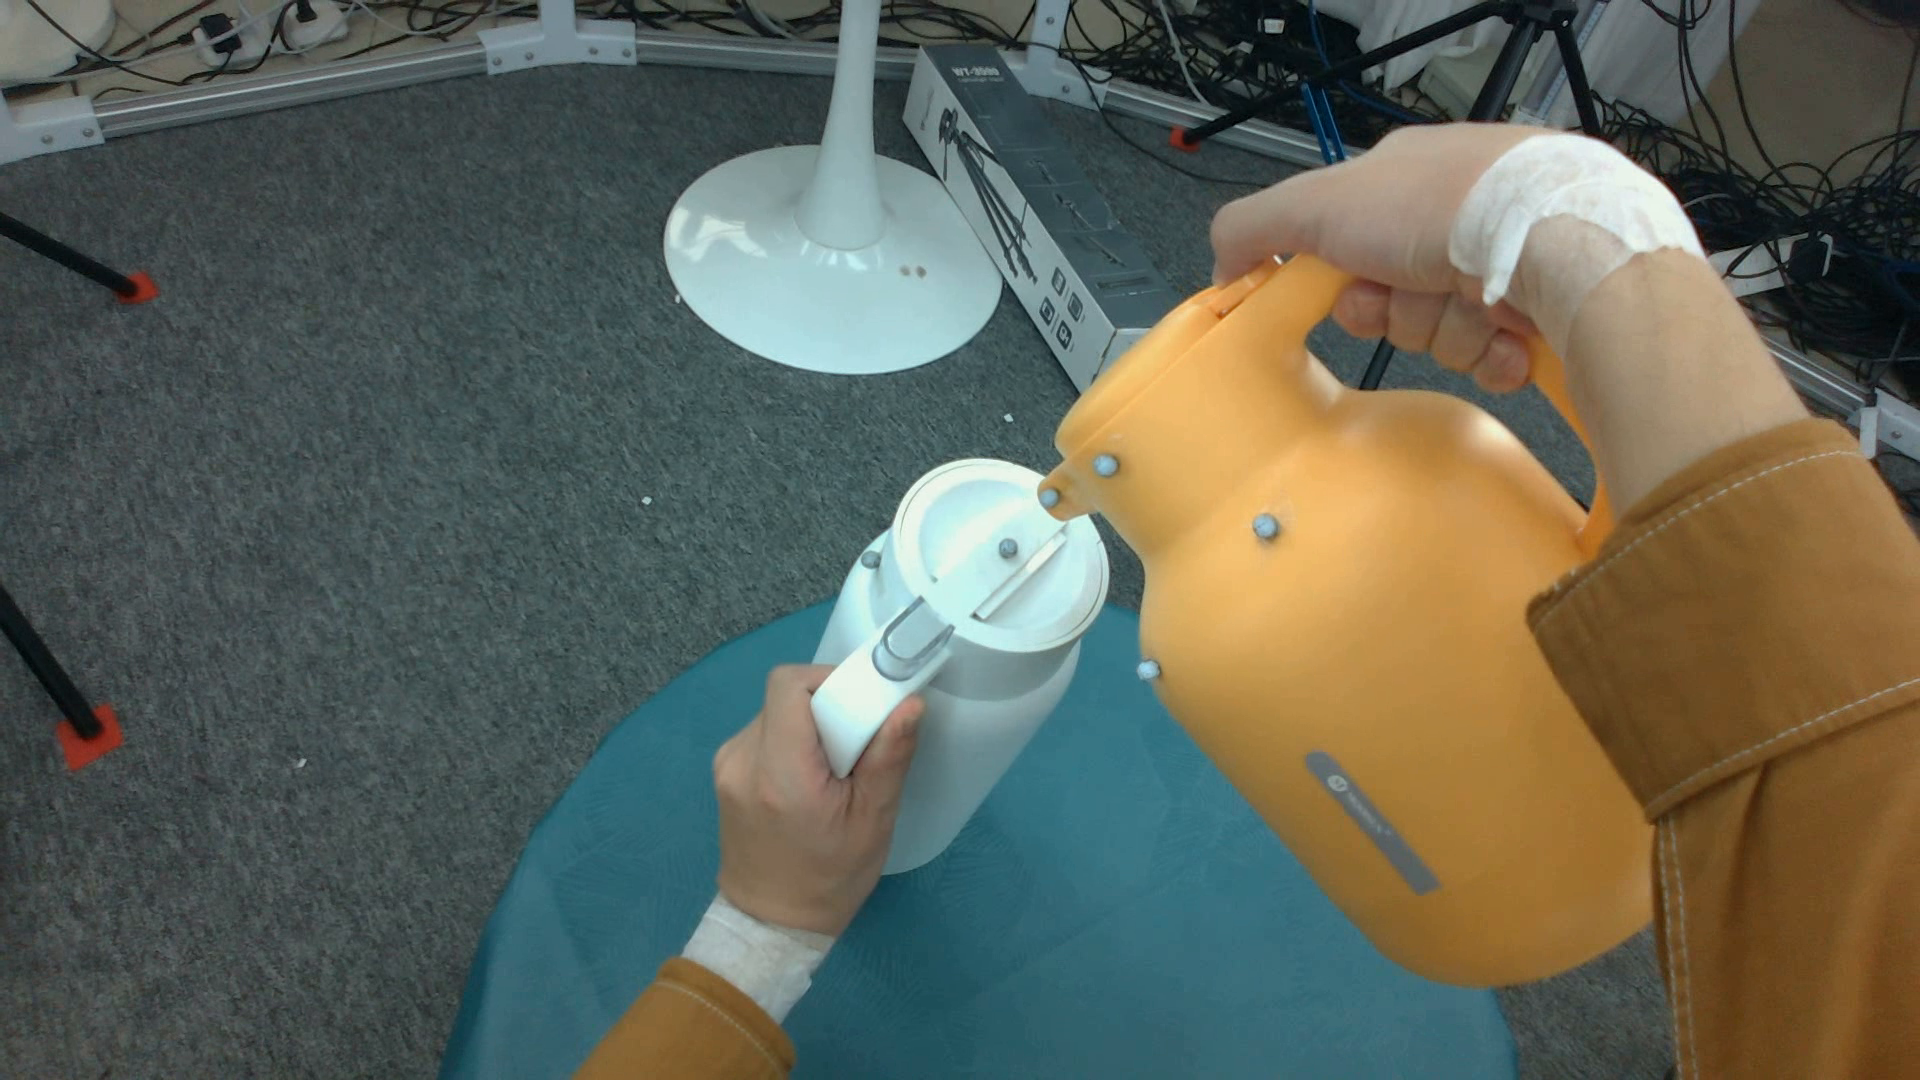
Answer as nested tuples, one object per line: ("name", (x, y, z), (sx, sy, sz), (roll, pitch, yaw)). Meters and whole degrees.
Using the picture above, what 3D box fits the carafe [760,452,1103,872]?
("carafe", (-0.030, 0.081, 0.689), (0.124, 0.267, 0.173), (42, 55, 7))

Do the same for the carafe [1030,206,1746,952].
("carafe", (0.158, 0.009, 0.505), (0.260, 0.201, 0.164), (44, 44, -2))
